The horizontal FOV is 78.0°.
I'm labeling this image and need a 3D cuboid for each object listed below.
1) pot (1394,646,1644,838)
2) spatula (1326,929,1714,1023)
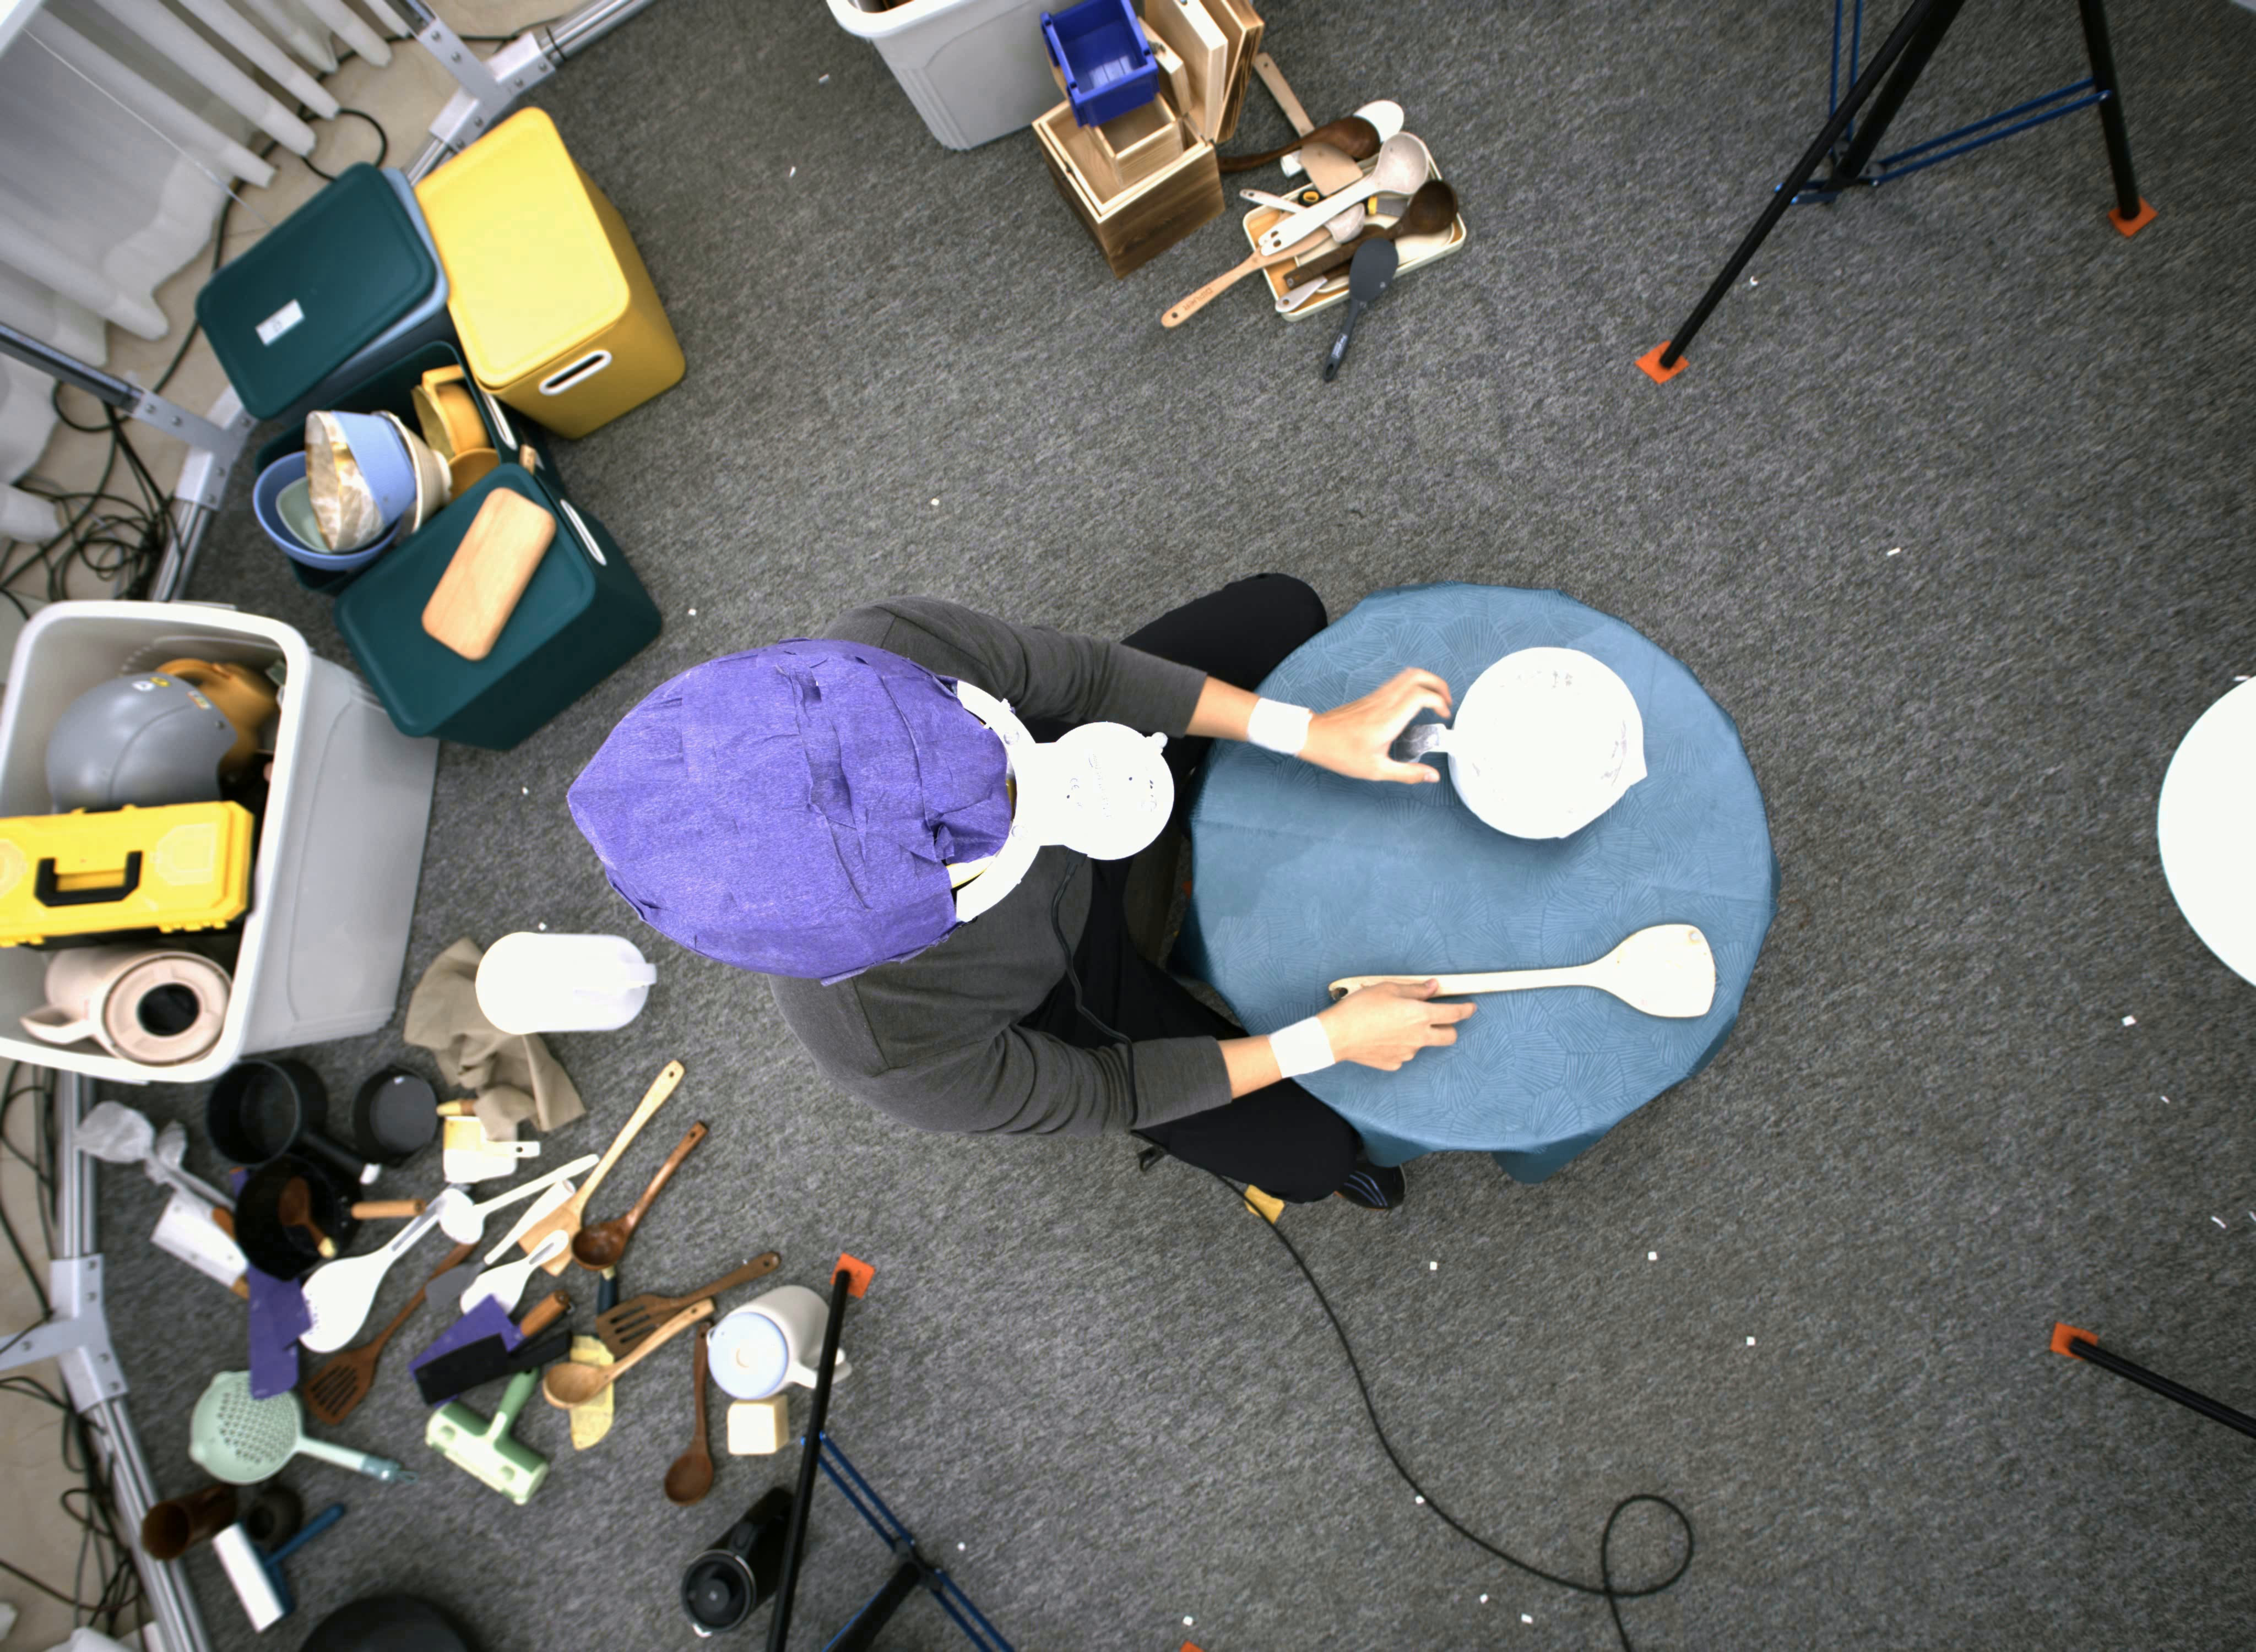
[{"bbox_3d":[0.386,-0.082,1.377,0.234,0.137,0.178,1,86,11],"label":"pot"},{"bbox_3d":[0.400,0.163,1.422,0.392,0.018,0.095,-5,84,10],"label":"spatula"}]
